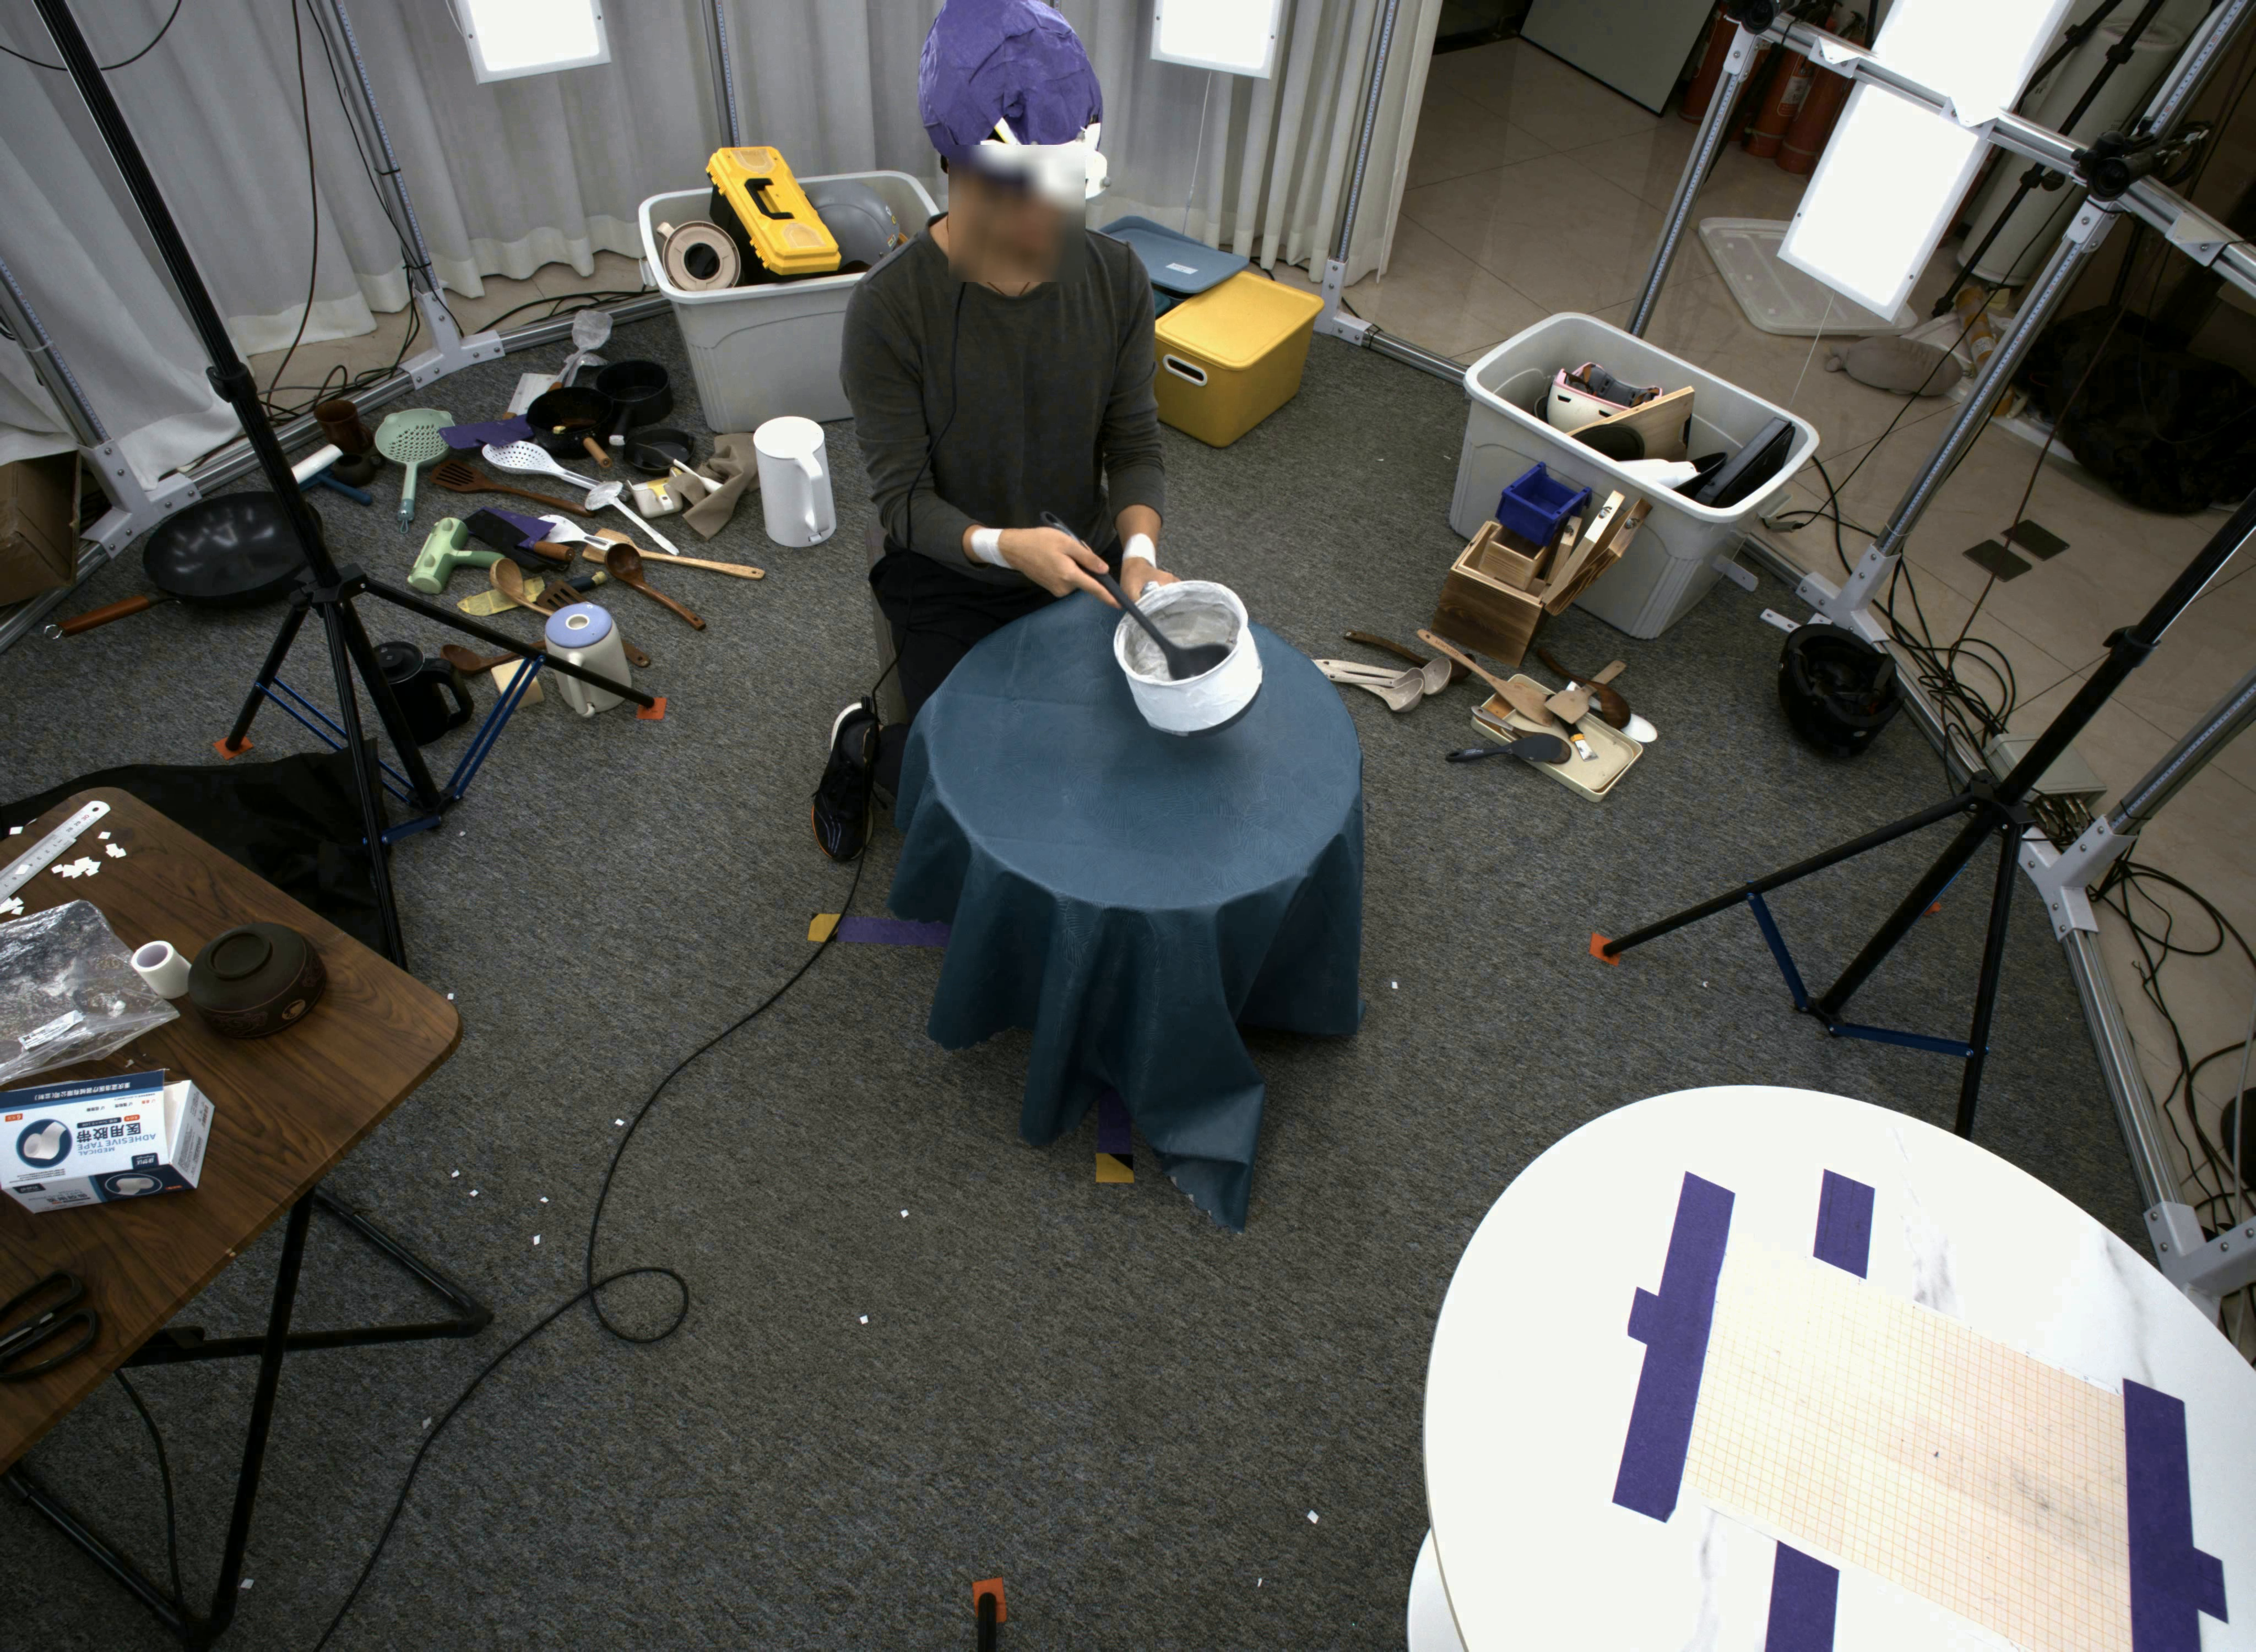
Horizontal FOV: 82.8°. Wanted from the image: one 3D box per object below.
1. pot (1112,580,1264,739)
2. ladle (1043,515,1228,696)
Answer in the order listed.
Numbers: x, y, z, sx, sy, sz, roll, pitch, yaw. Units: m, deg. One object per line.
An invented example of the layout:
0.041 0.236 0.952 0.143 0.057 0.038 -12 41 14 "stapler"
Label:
0.072 -0.233 1.701 0.178 0.133 0.239 -29 51 -1 "pot"
0.006 -0.291 1.649 0.314 0.063 0.087 48 60 2 "ladle"
